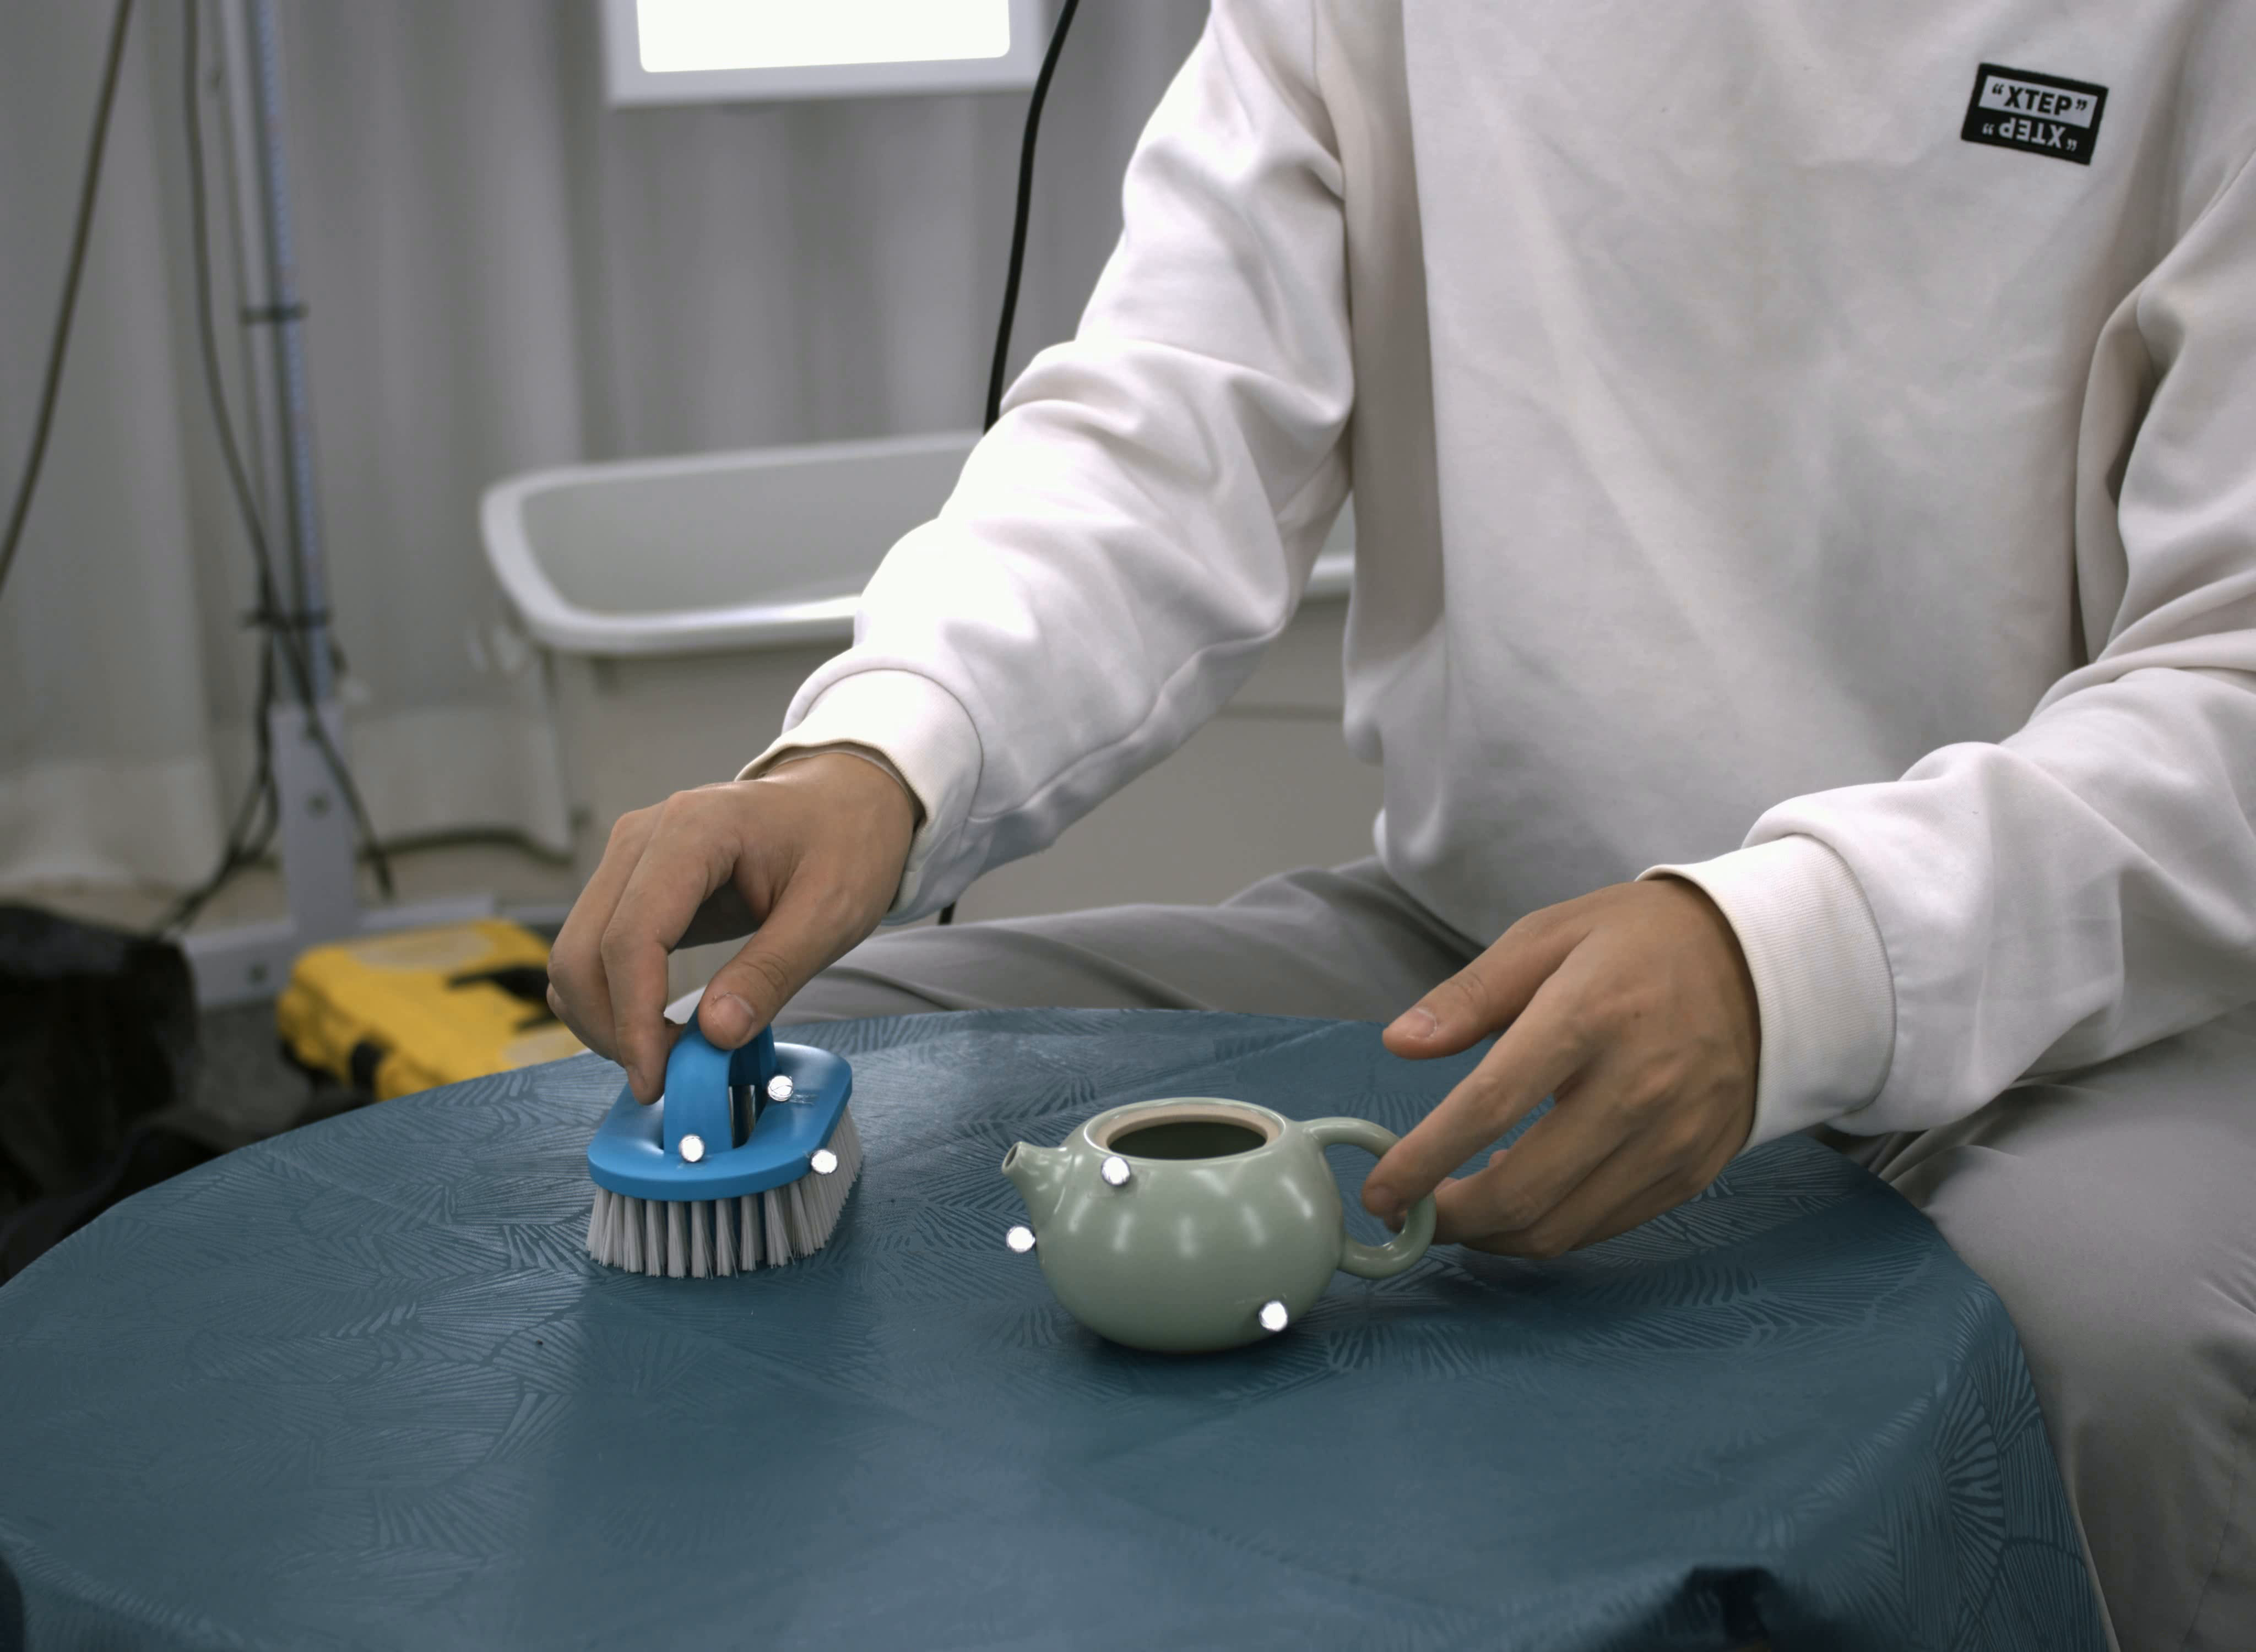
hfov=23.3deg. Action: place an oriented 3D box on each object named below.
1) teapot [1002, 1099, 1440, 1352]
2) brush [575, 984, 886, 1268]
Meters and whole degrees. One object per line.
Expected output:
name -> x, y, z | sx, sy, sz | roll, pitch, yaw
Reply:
teapot -> 0.028, 0.116, 1.594 | 0.128, 0.061, 0.092 | -2, 12, -5
brush -> -0.126, 0.088, 1.717 | 0.084, 0.063, 0.142 | -6, 13, 9
